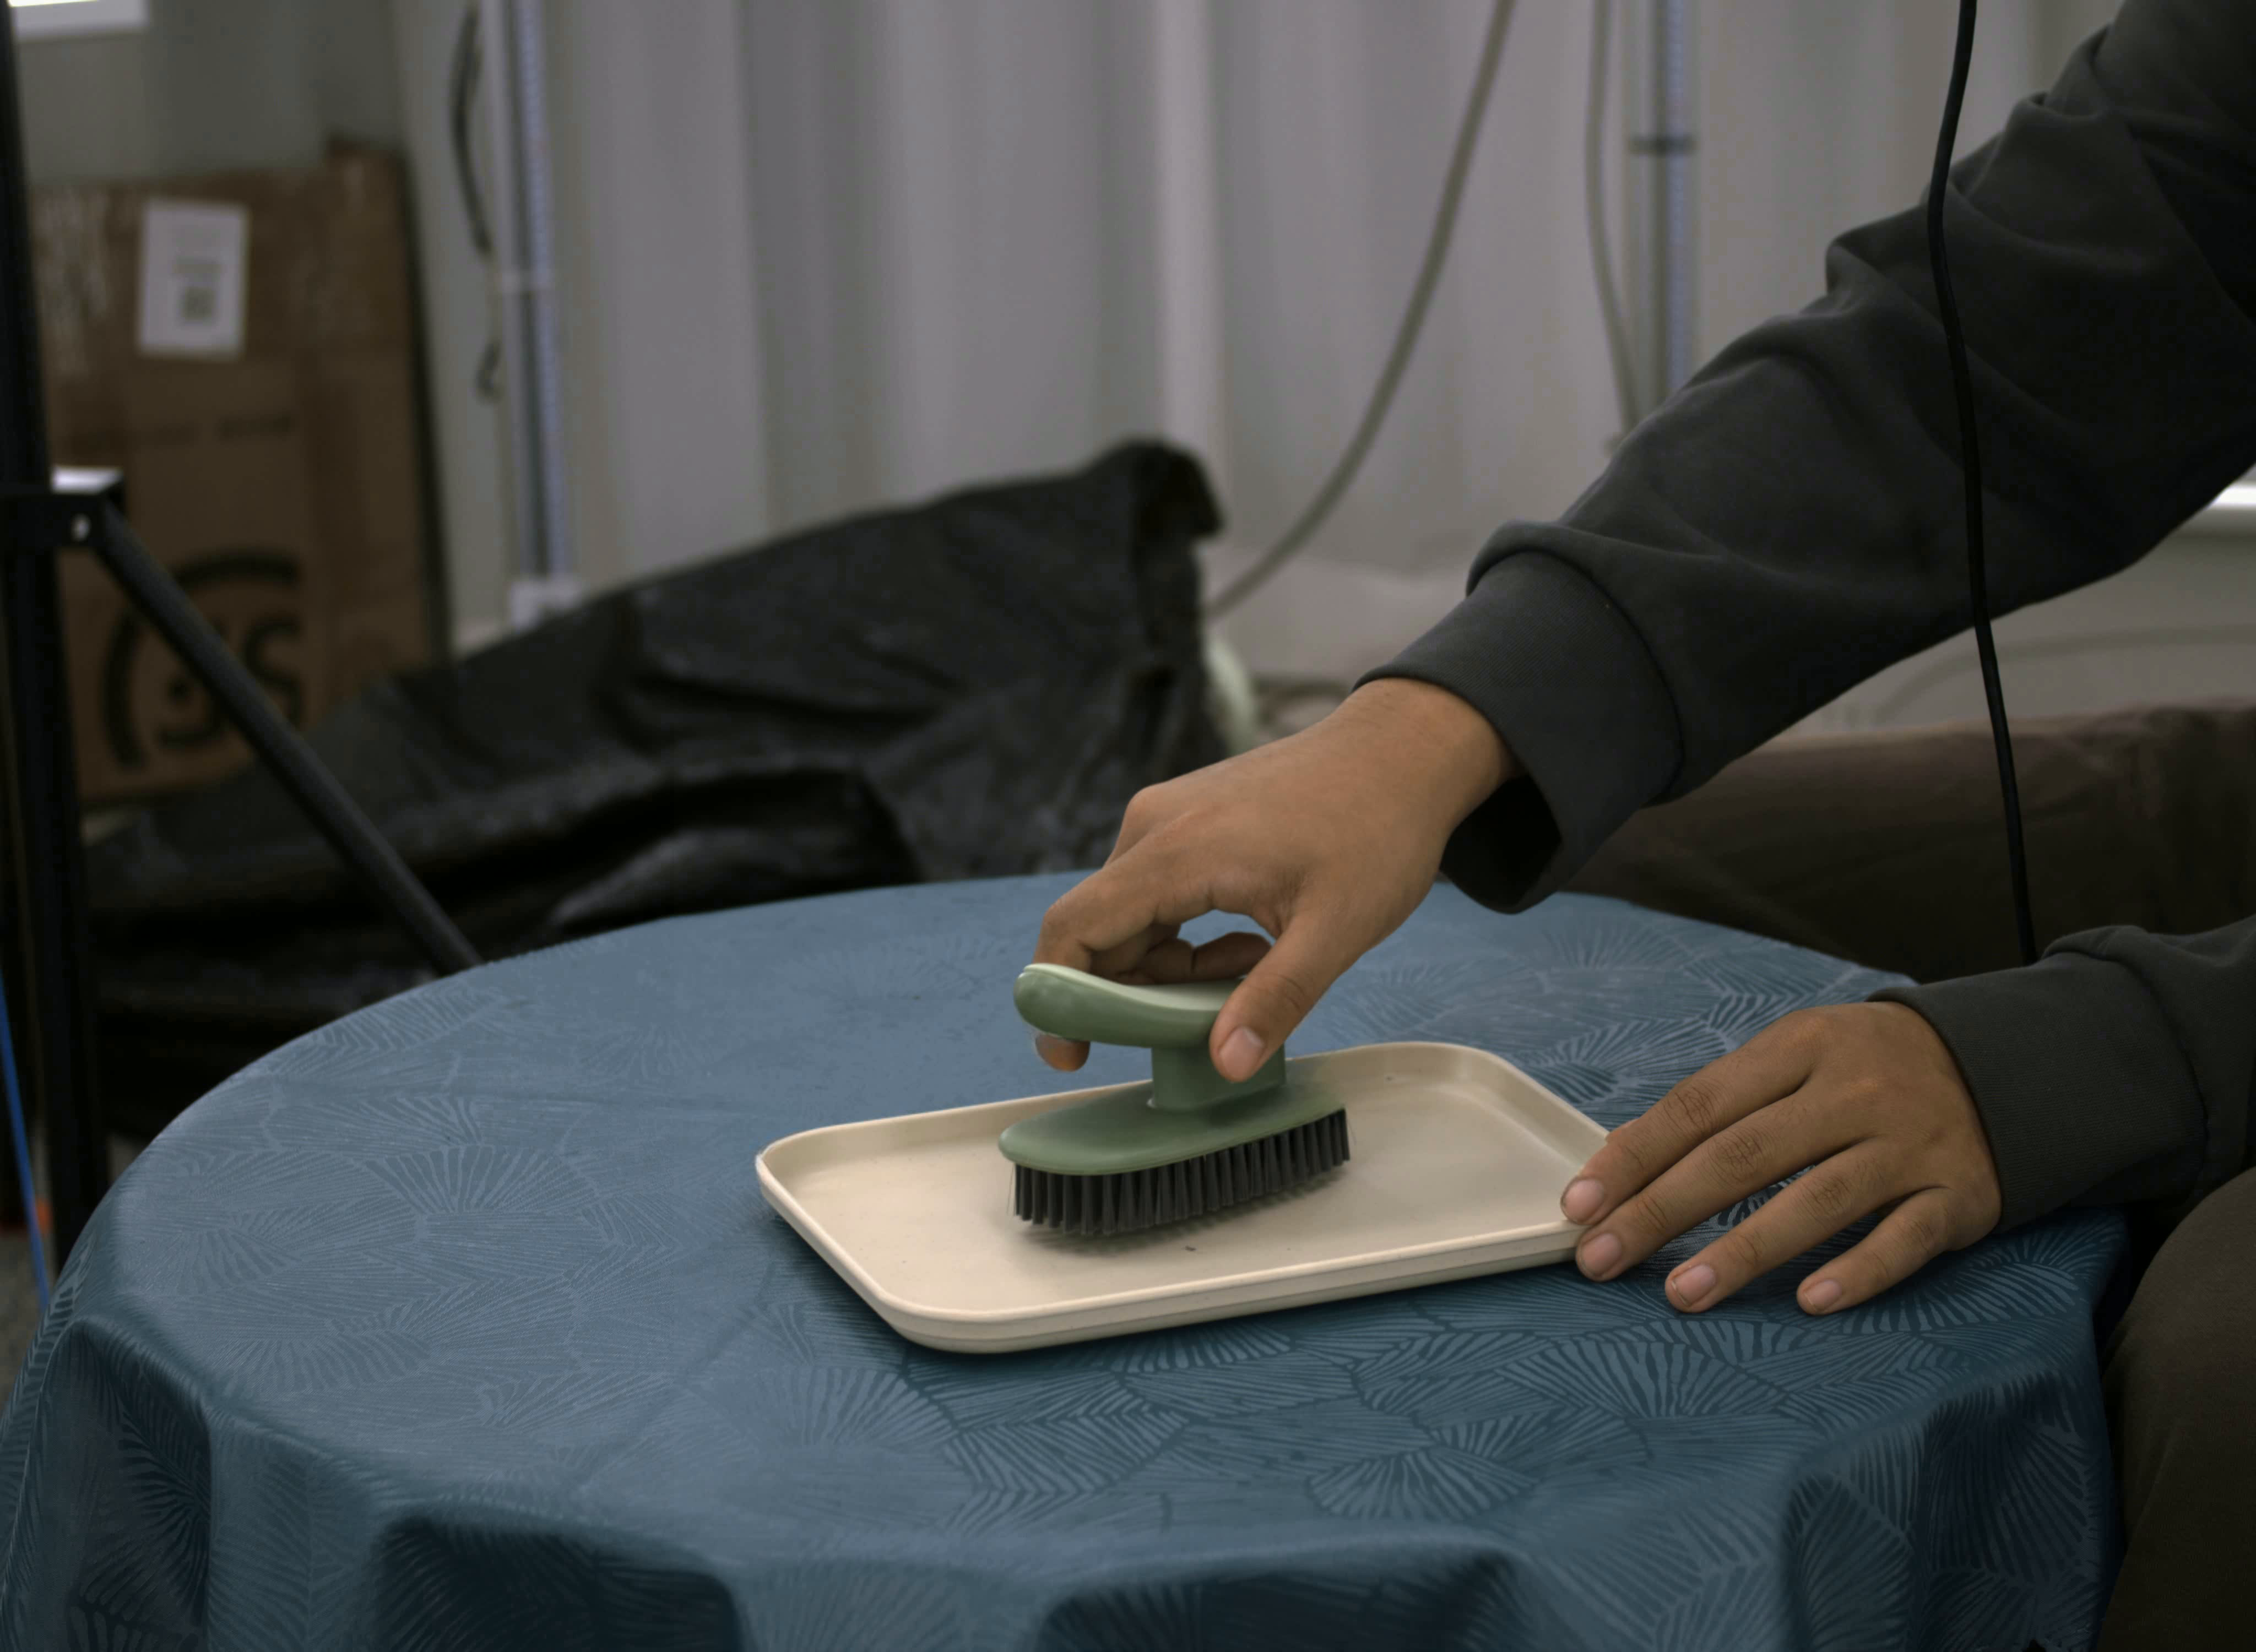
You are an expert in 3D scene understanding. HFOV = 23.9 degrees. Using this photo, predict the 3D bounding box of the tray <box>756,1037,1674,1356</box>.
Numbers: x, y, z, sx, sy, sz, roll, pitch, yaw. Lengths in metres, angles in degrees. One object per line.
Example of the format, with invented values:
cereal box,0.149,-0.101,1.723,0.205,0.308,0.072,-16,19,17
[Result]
tray,0.024,0.106,1.527,0.235,0.017,0.174,-8,17,-18

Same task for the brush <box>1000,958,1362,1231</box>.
brush,0.015,0.079,1.531,0.119,0.076,0.061,5,3,-43
